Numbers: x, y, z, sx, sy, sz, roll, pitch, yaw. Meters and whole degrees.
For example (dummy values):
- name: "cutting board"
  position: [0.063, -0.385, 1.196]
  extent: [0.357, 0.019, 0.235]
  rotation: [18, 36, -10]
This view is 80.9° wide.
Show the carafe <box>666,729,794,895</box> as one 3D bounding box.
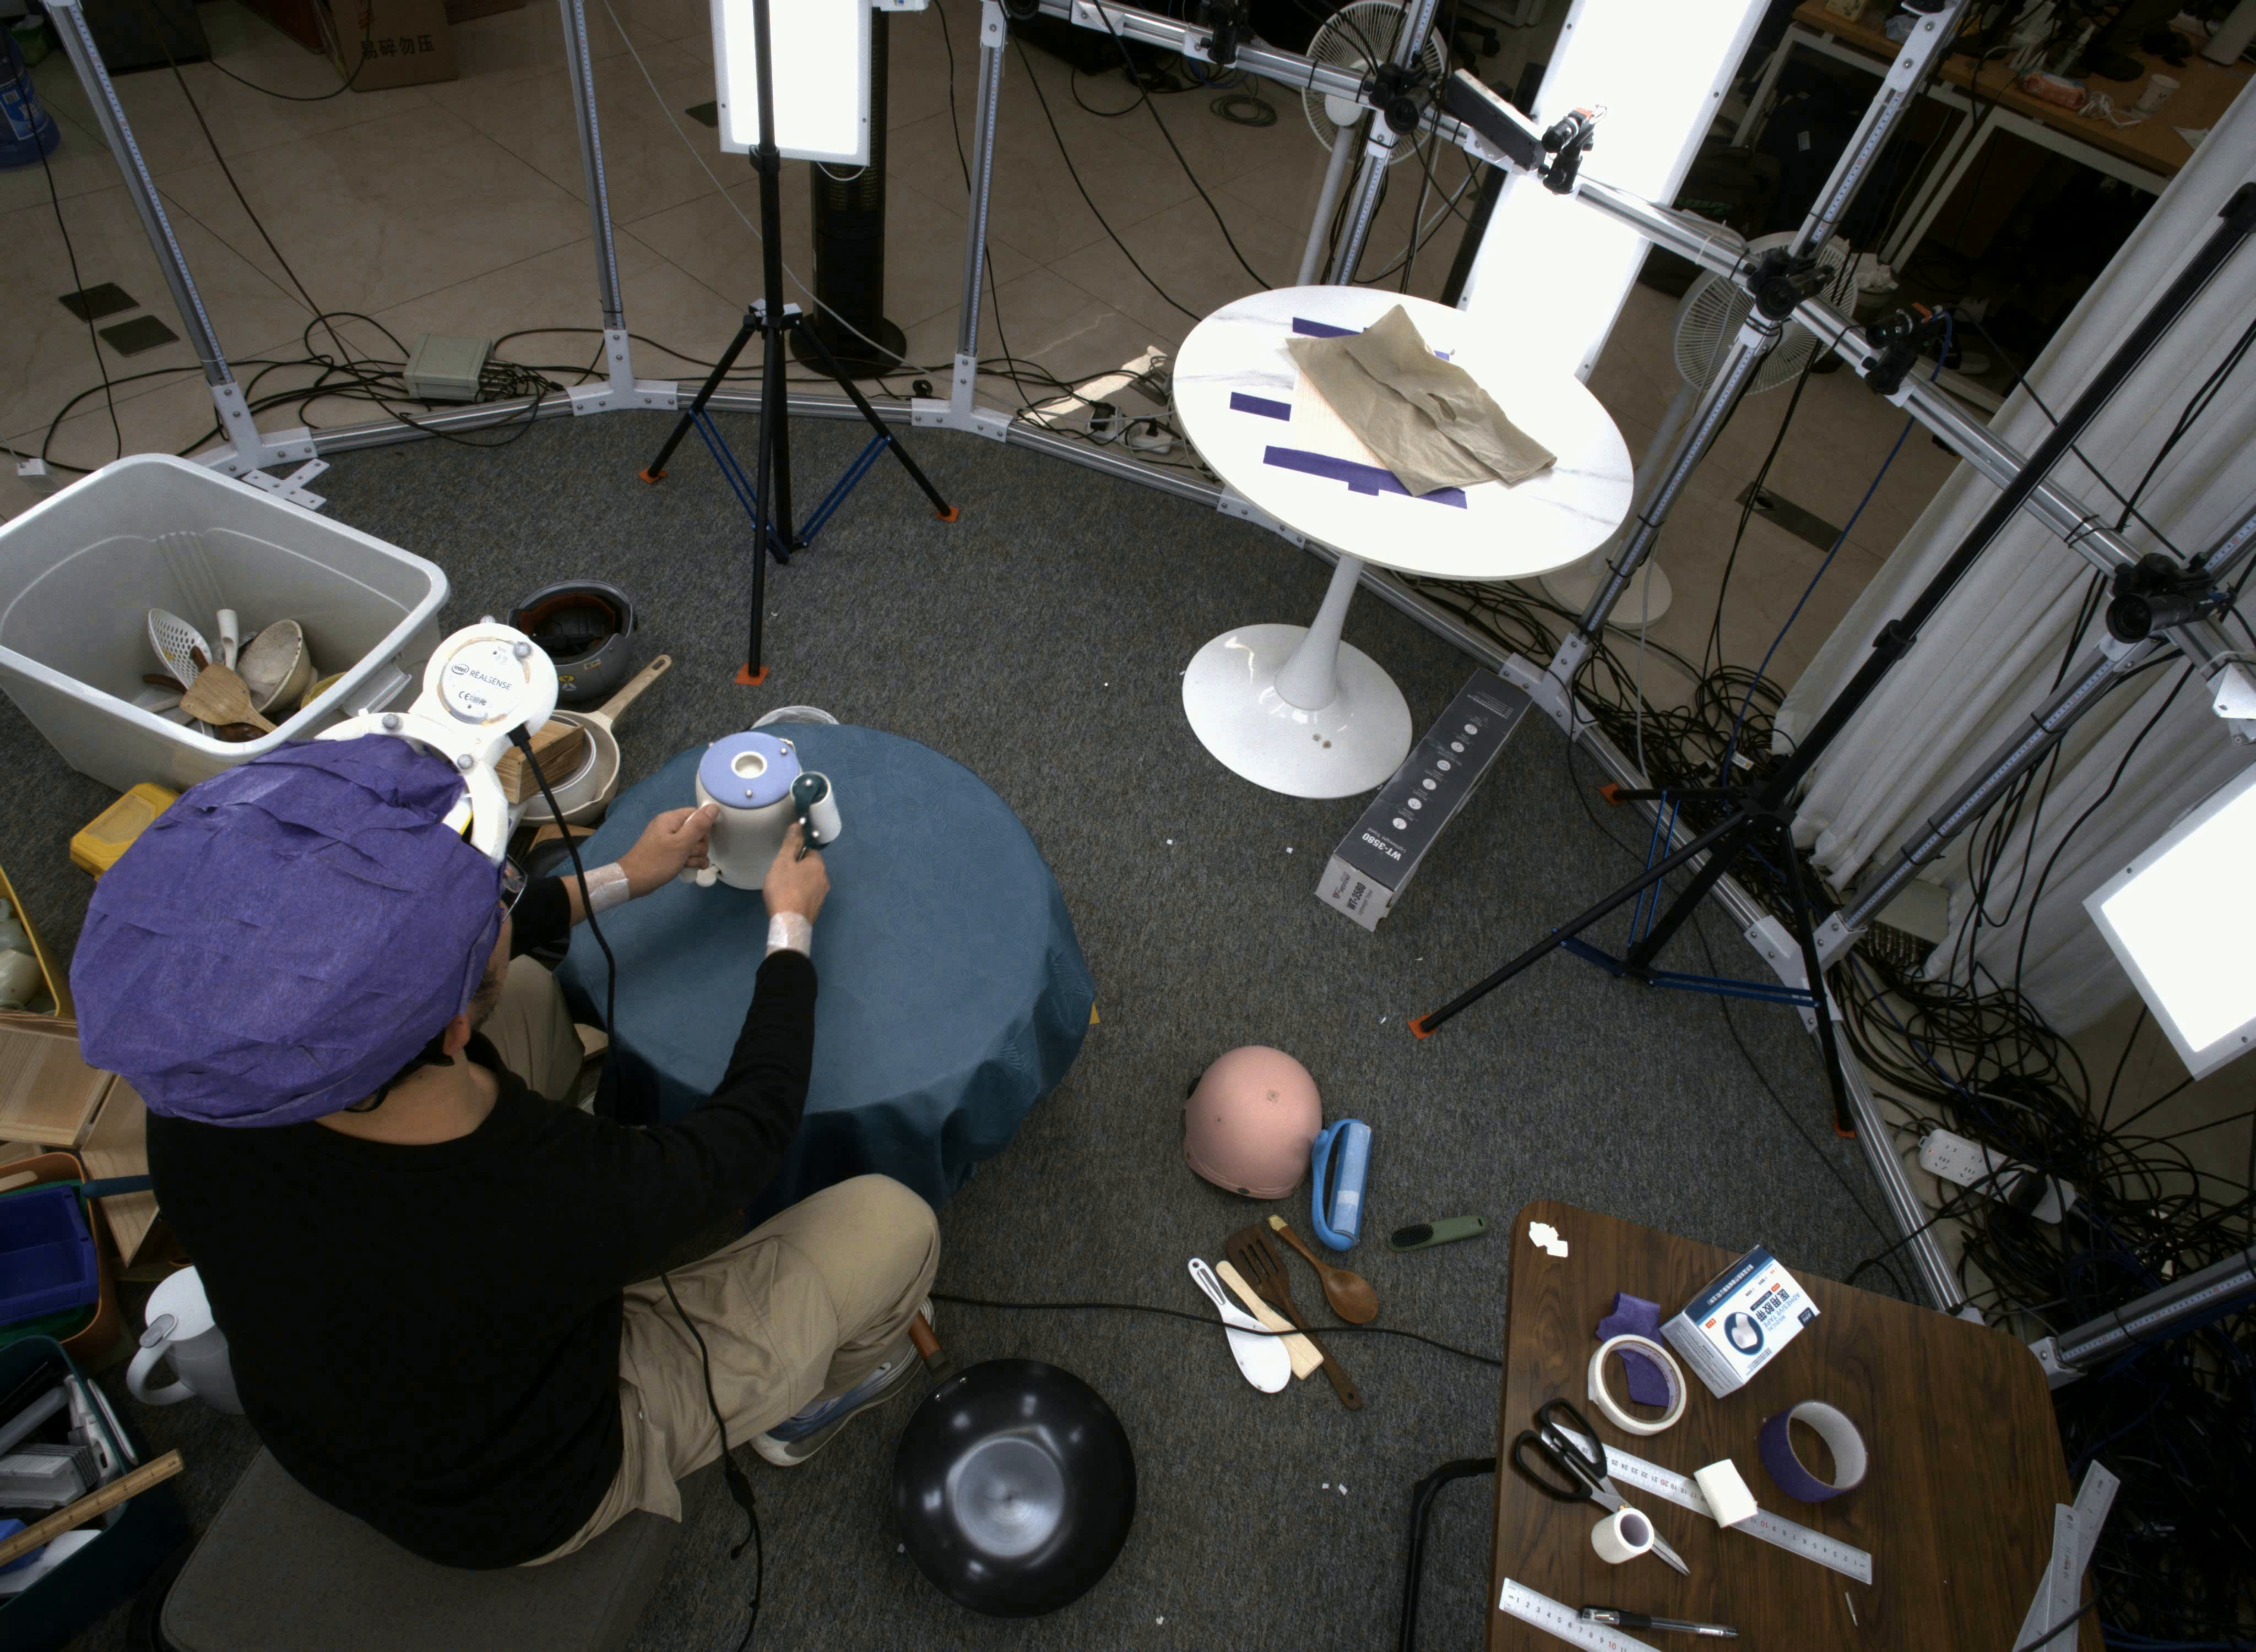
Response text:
- name: "carafe"
  position: [-0.498, -0.004, 1.591]
  extent: [0.129, 0.186, 0.191]
  rotation: [31, 54, 13]

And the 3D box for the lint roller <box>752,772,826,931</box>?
- name: "lint roller"
  position: [-0.403, 0.040, 1.532]
  extent: [0.048, 0.137, 0.178]
  rotation: [6, 64, 0]
